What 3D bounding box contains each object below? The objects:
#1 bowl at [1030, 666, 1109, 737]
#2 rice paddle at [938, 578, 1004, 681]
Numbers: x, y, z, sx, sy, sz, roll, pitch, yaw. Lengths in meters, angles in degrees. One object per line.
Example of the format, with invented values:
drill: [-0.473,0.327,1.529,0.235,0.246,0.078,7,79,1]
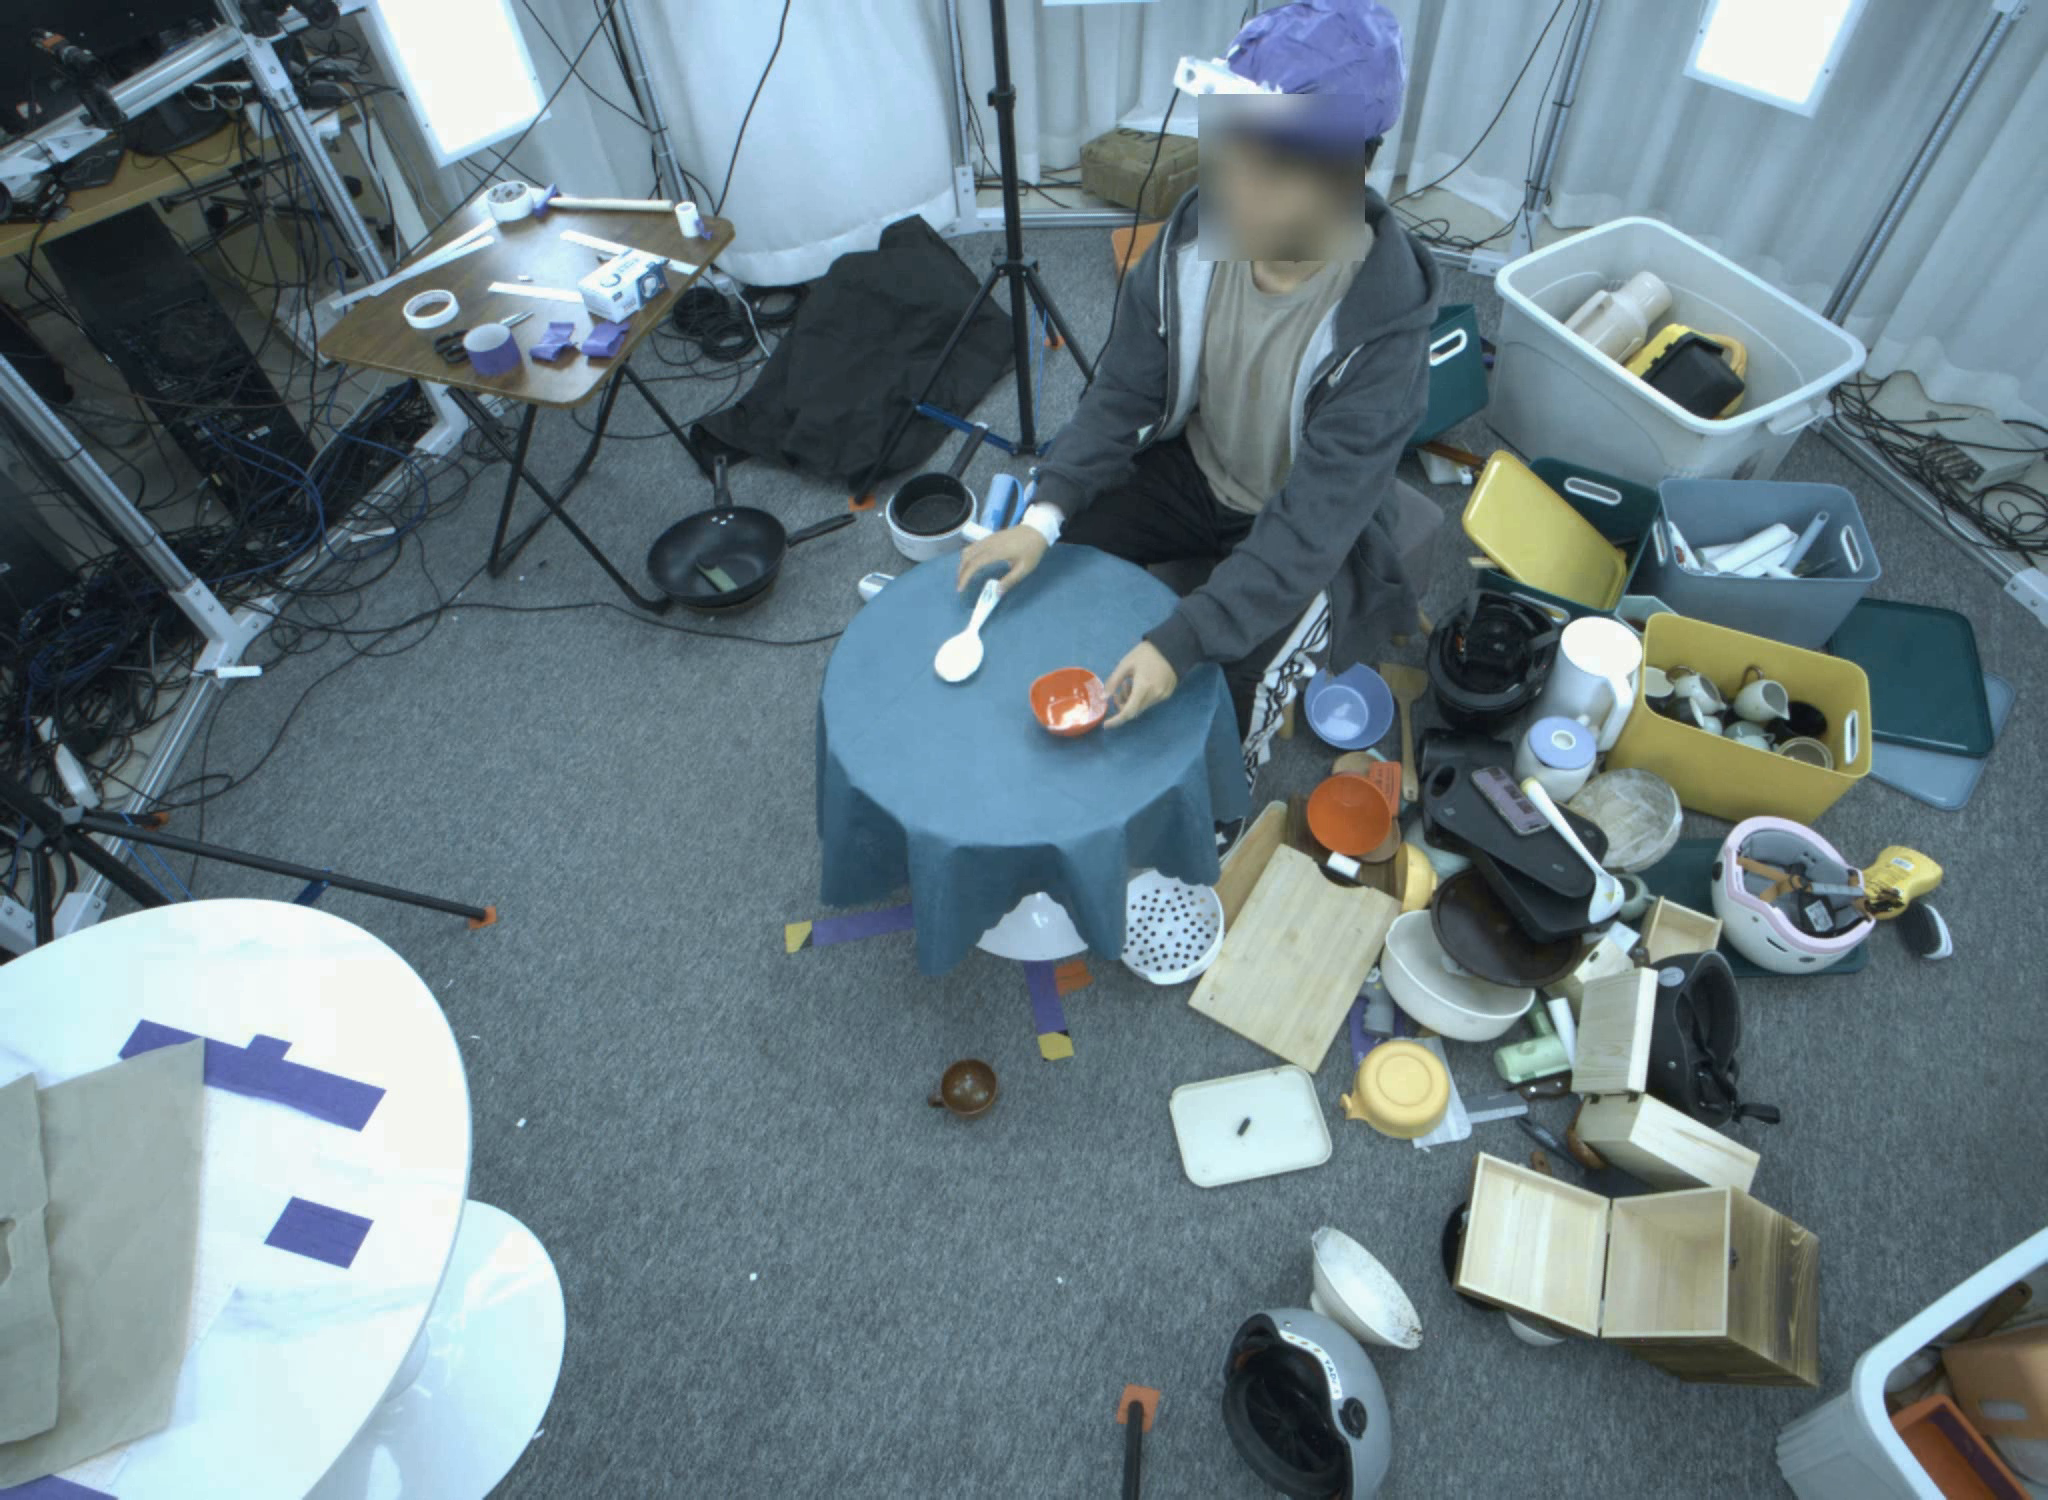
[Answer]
bowl: [0.067,-0.062,1.799,0.119,0.052,0.118,-1,55,3]
rice paddle: [-0.078,-0.187,1.906,0.068,0.030,0.205,13,56,13]
